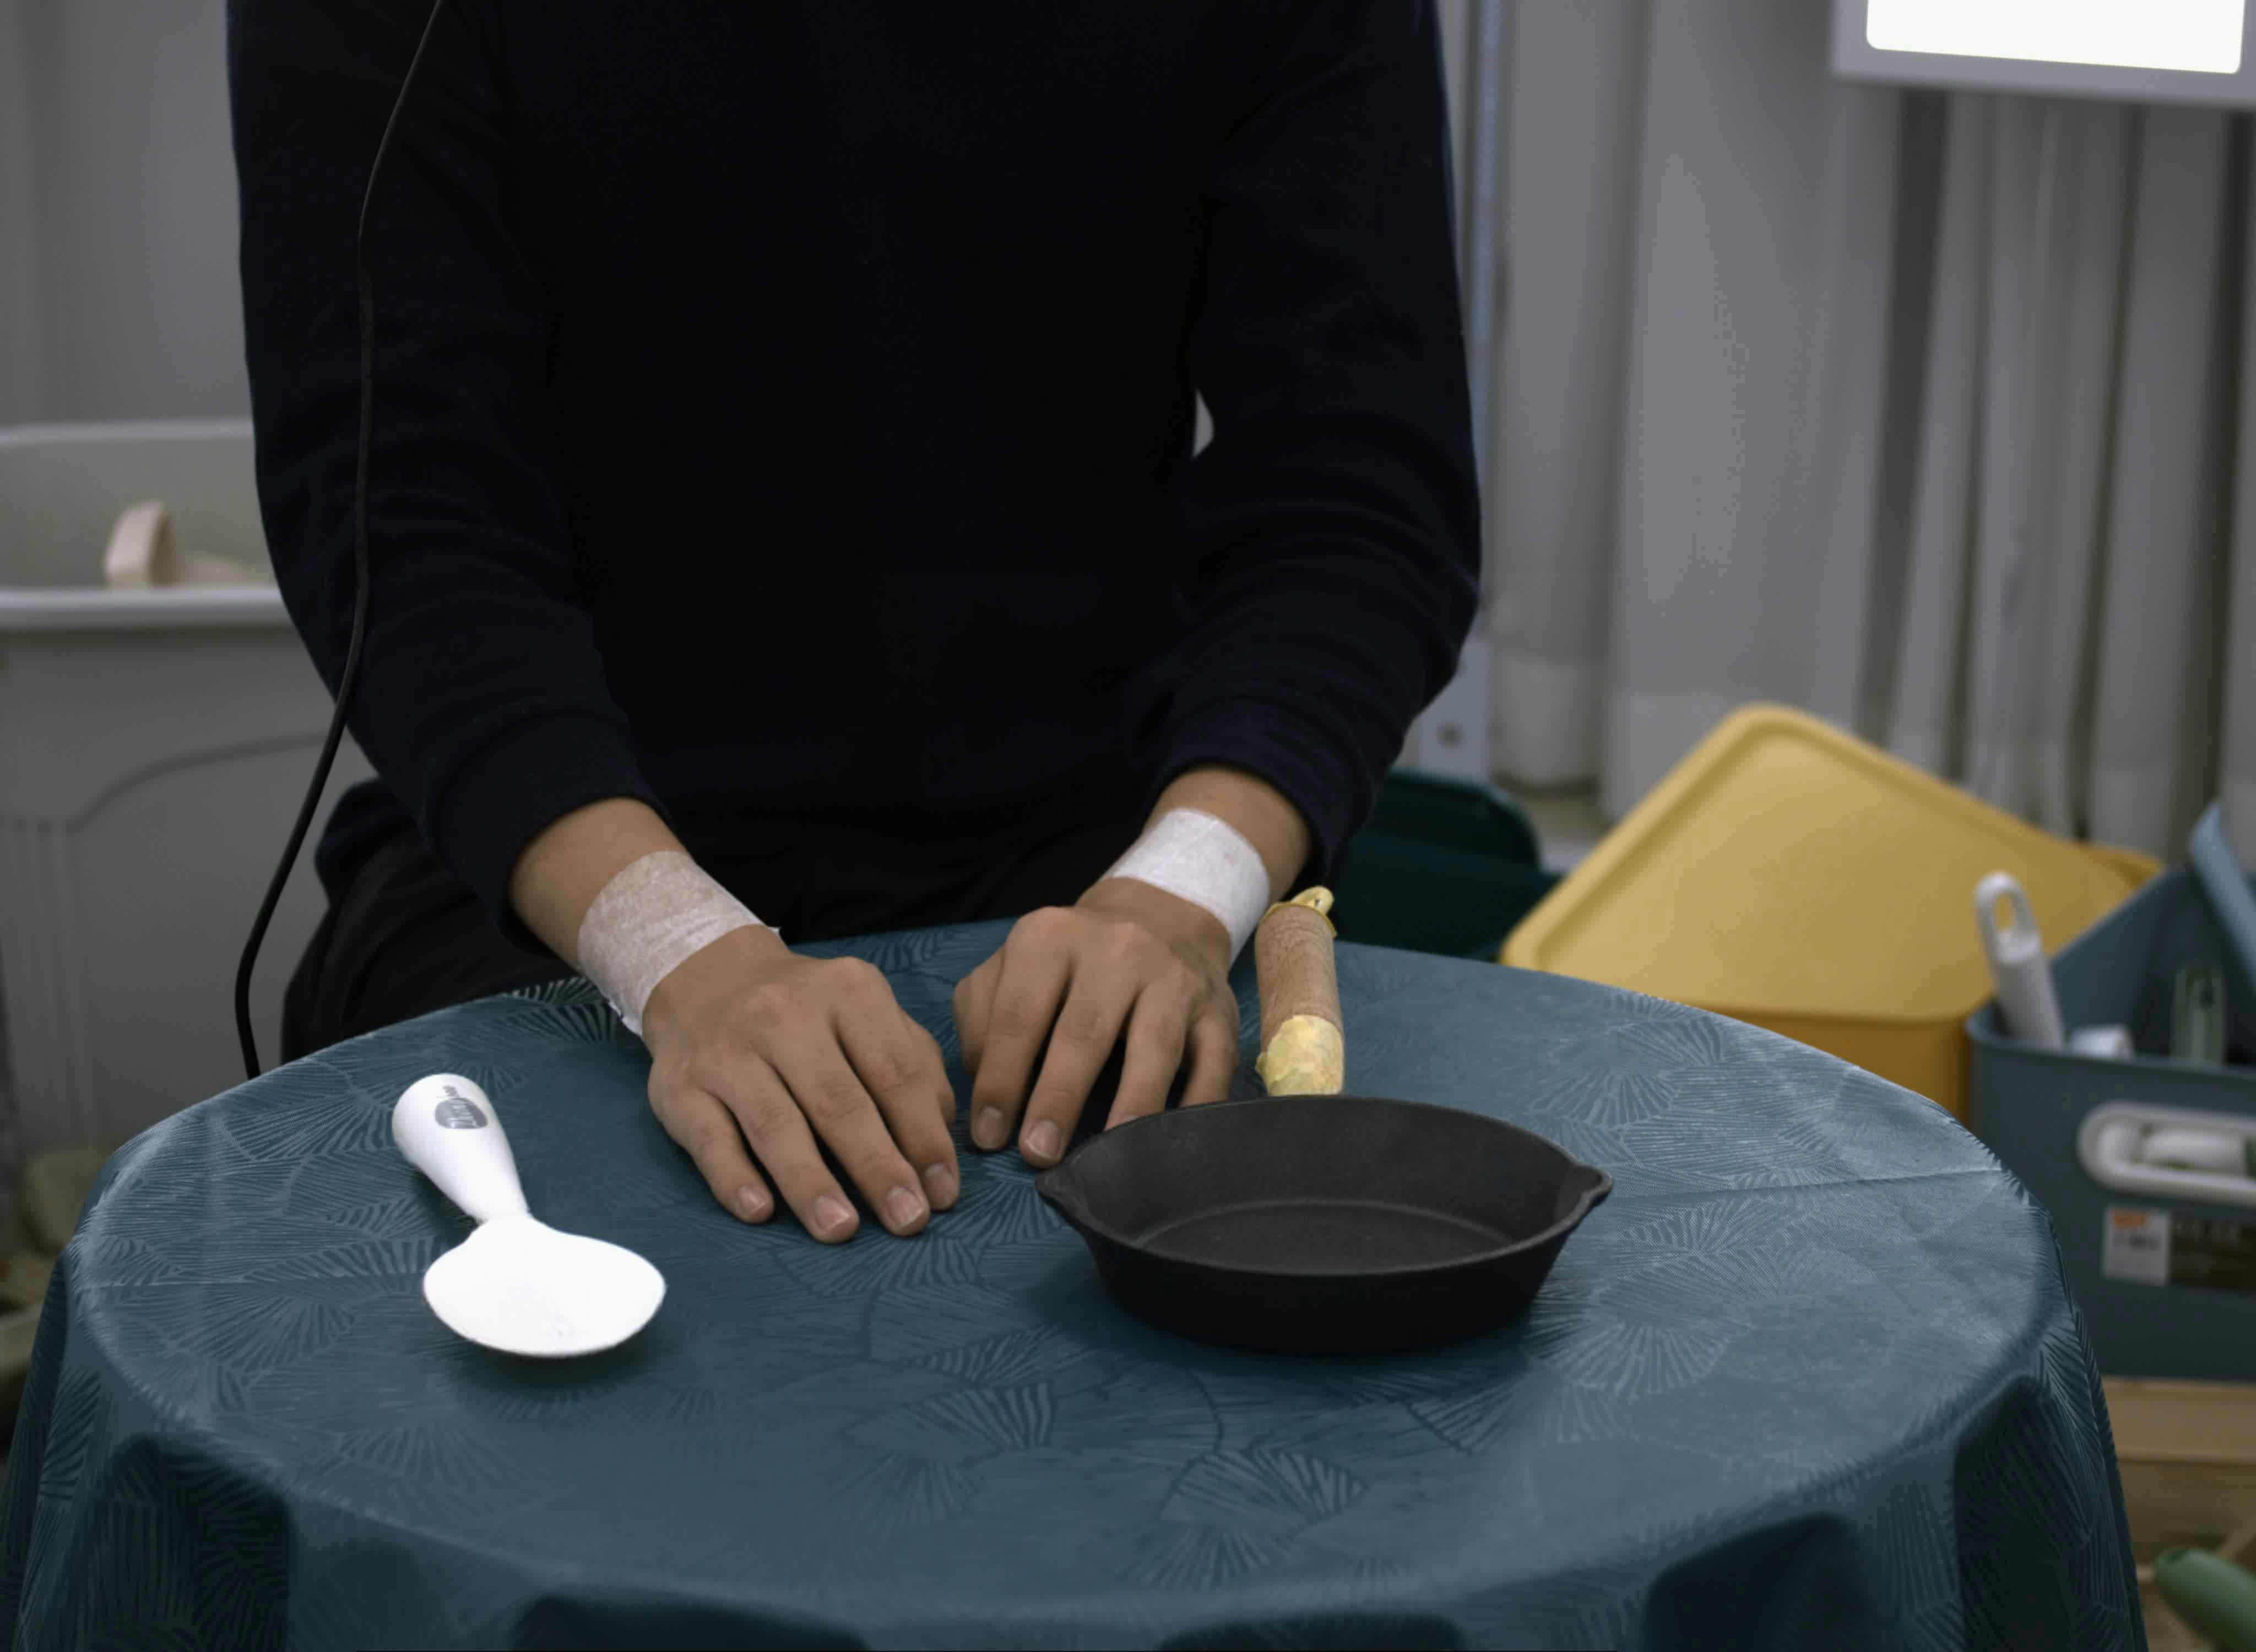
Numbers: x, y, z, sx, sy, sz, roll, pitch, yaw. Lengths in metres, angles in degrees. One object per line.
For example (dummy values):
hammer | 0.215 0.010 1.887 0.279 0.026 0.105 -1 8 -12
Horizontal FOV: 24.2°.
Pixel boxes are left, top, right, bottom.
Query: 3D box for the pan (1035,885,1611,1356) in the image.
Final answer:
pan | 0.059 0.087 1.620 0.168 0.050 0.322 0 17 1

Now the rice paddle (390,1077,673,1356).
rice paddle | -0.183 0.117 1.548 0.069 0.029 0.203 -6 16 -17
